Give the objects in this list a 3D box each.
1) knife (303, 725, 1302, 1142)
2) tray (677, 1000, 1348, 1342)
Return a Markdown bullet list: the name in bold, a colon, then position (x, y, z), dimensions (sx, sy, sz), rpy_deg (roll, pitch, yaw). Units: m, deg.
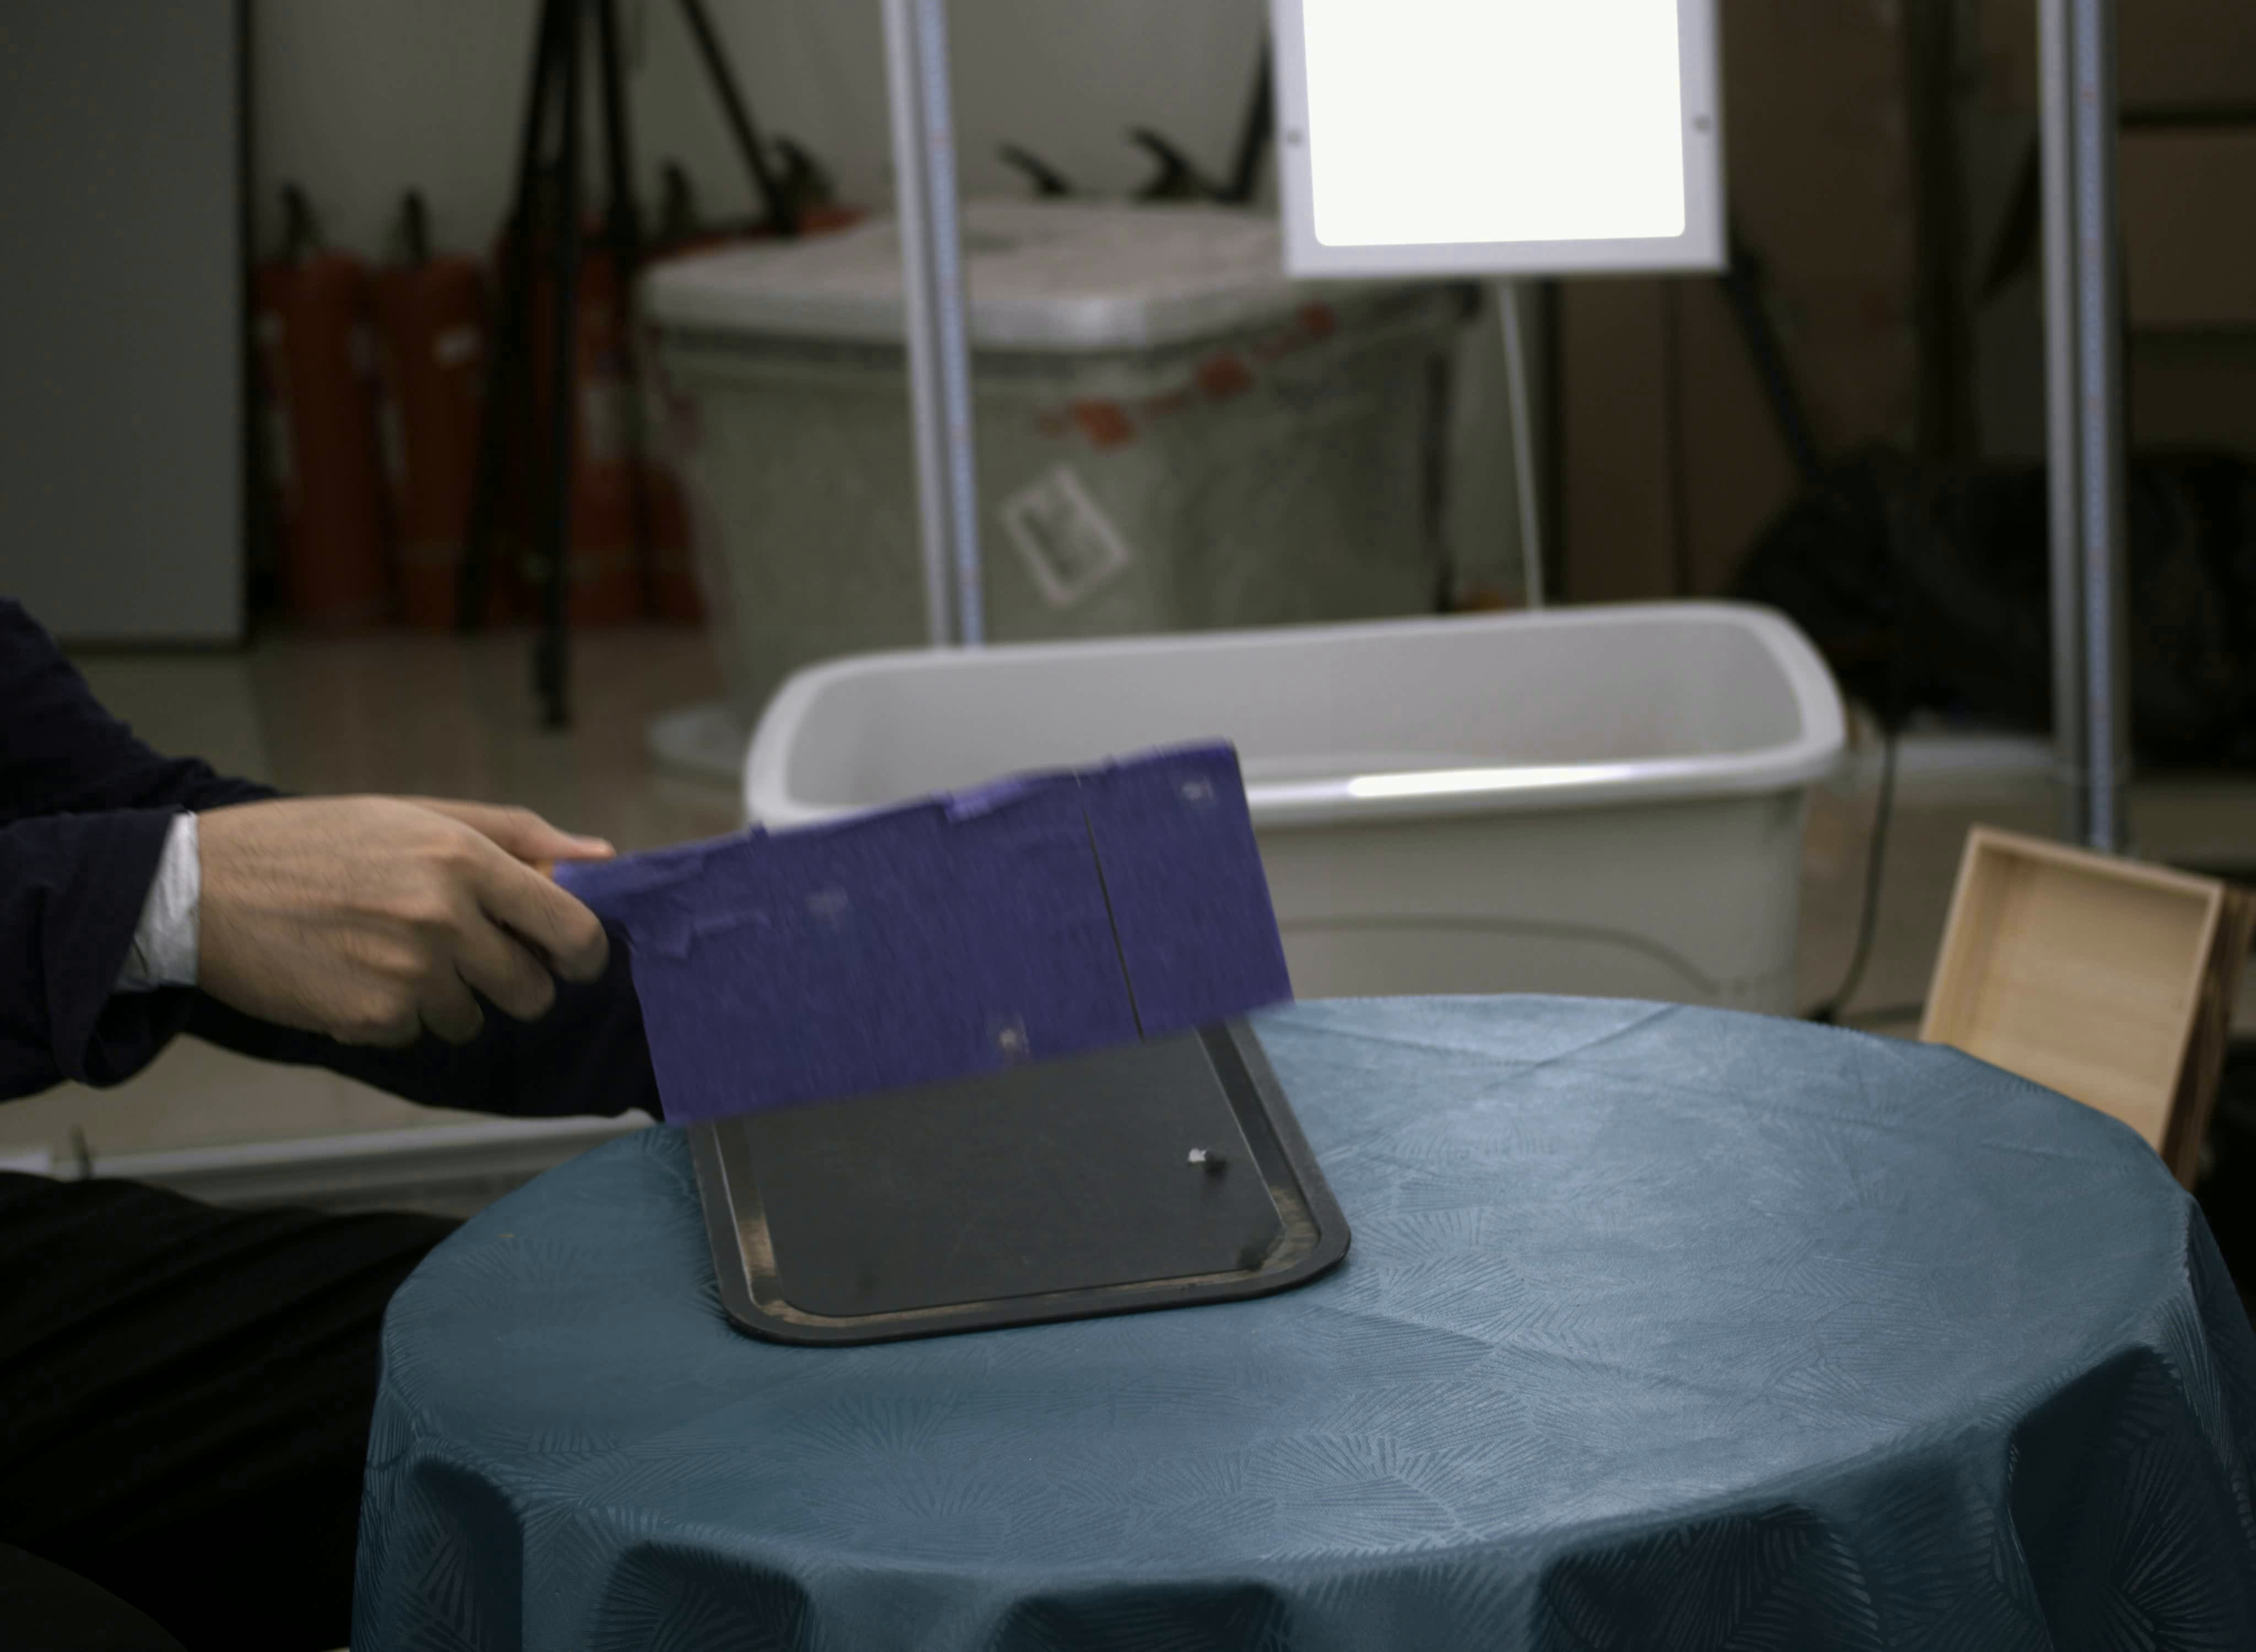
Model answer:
- **knife**: position (-0.104, 0.049, 1.754), dimensions (0.317, 0.104, 0.032), rpy_deg (-11, 3, 11)
- **tray**: position (-0.048, 0.106, 1.925), dimensions (0.209, 0.010, 0.326), rpy_deg (-7, 20, -5)
